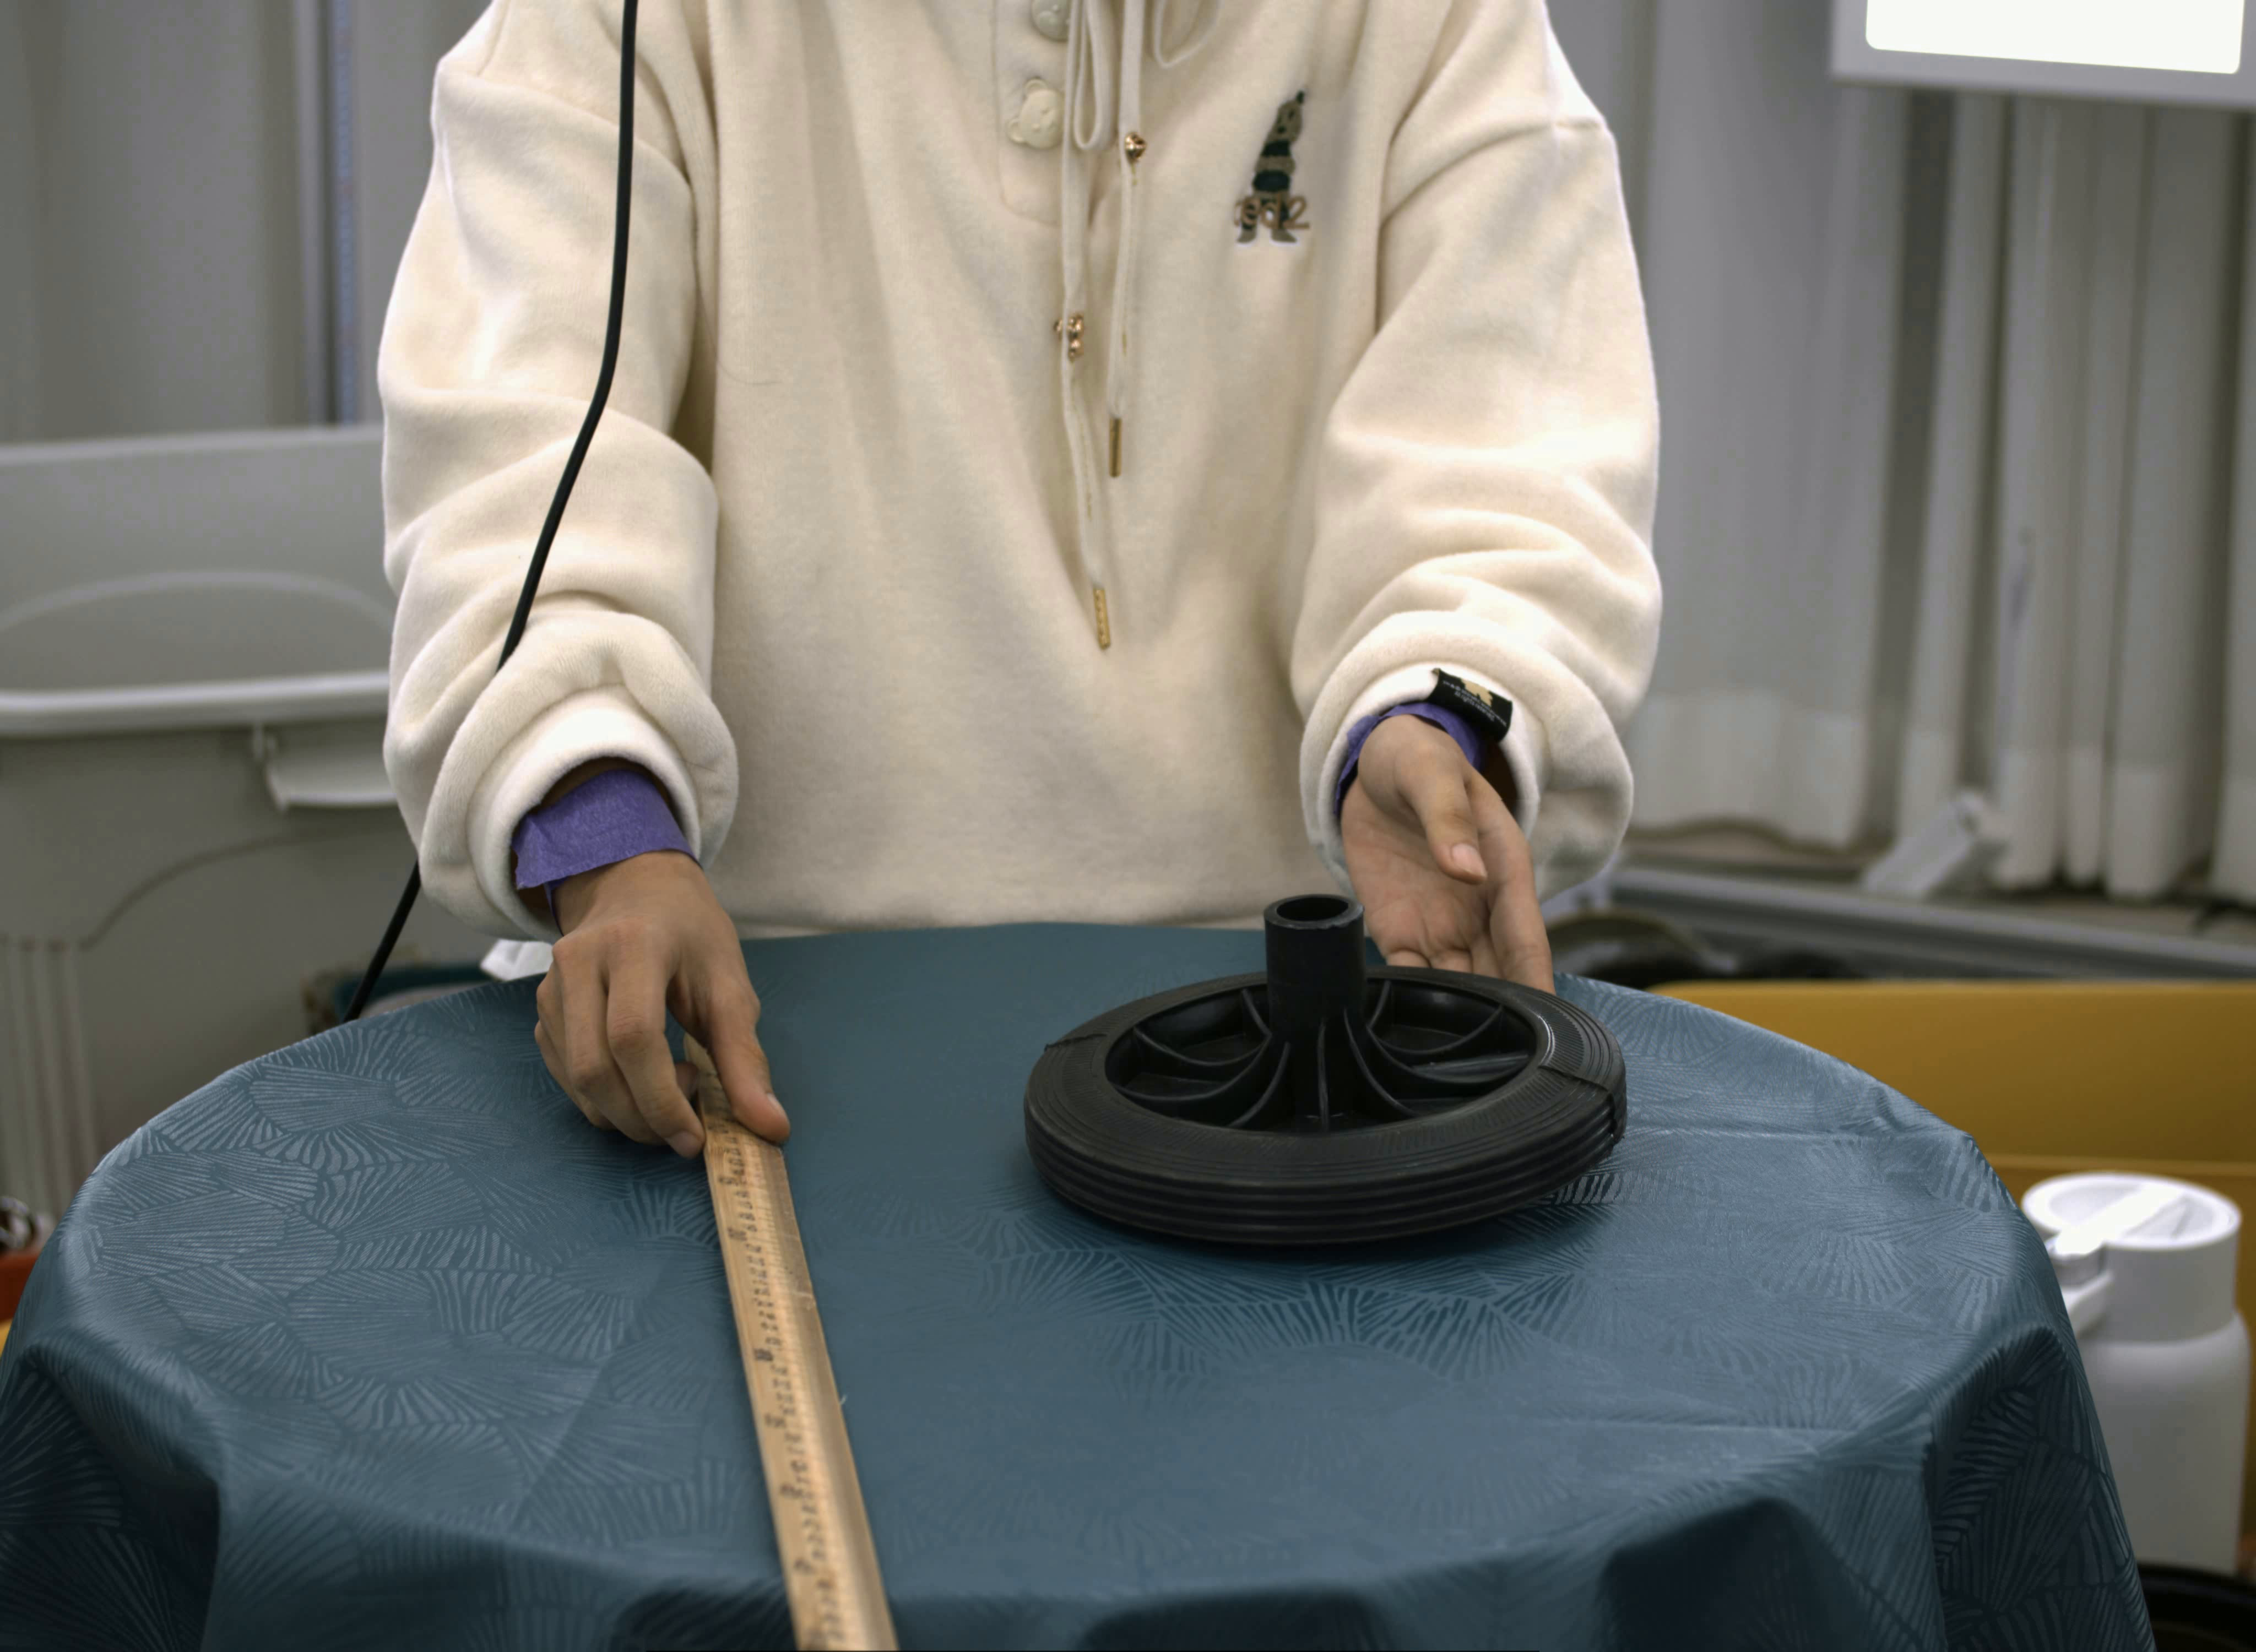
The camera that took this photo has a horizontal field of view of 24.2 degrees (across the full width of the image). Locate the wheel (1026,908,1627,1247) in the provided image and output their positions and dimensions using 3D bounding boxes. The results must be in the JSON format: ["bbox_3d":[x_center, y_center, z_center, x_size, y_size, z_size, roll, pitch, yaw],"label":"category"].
[{"bbox_3d":[0.061,0.067,1.634,0.190,0.080,0.185,-14,21,-30],"label":"wheel"}]

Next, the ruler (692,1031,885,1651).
[{"bbox_3d":[-0.102,0.136,1.507,0.027,0.006,0.496,17,12,-12],"label":"ruler"}]
